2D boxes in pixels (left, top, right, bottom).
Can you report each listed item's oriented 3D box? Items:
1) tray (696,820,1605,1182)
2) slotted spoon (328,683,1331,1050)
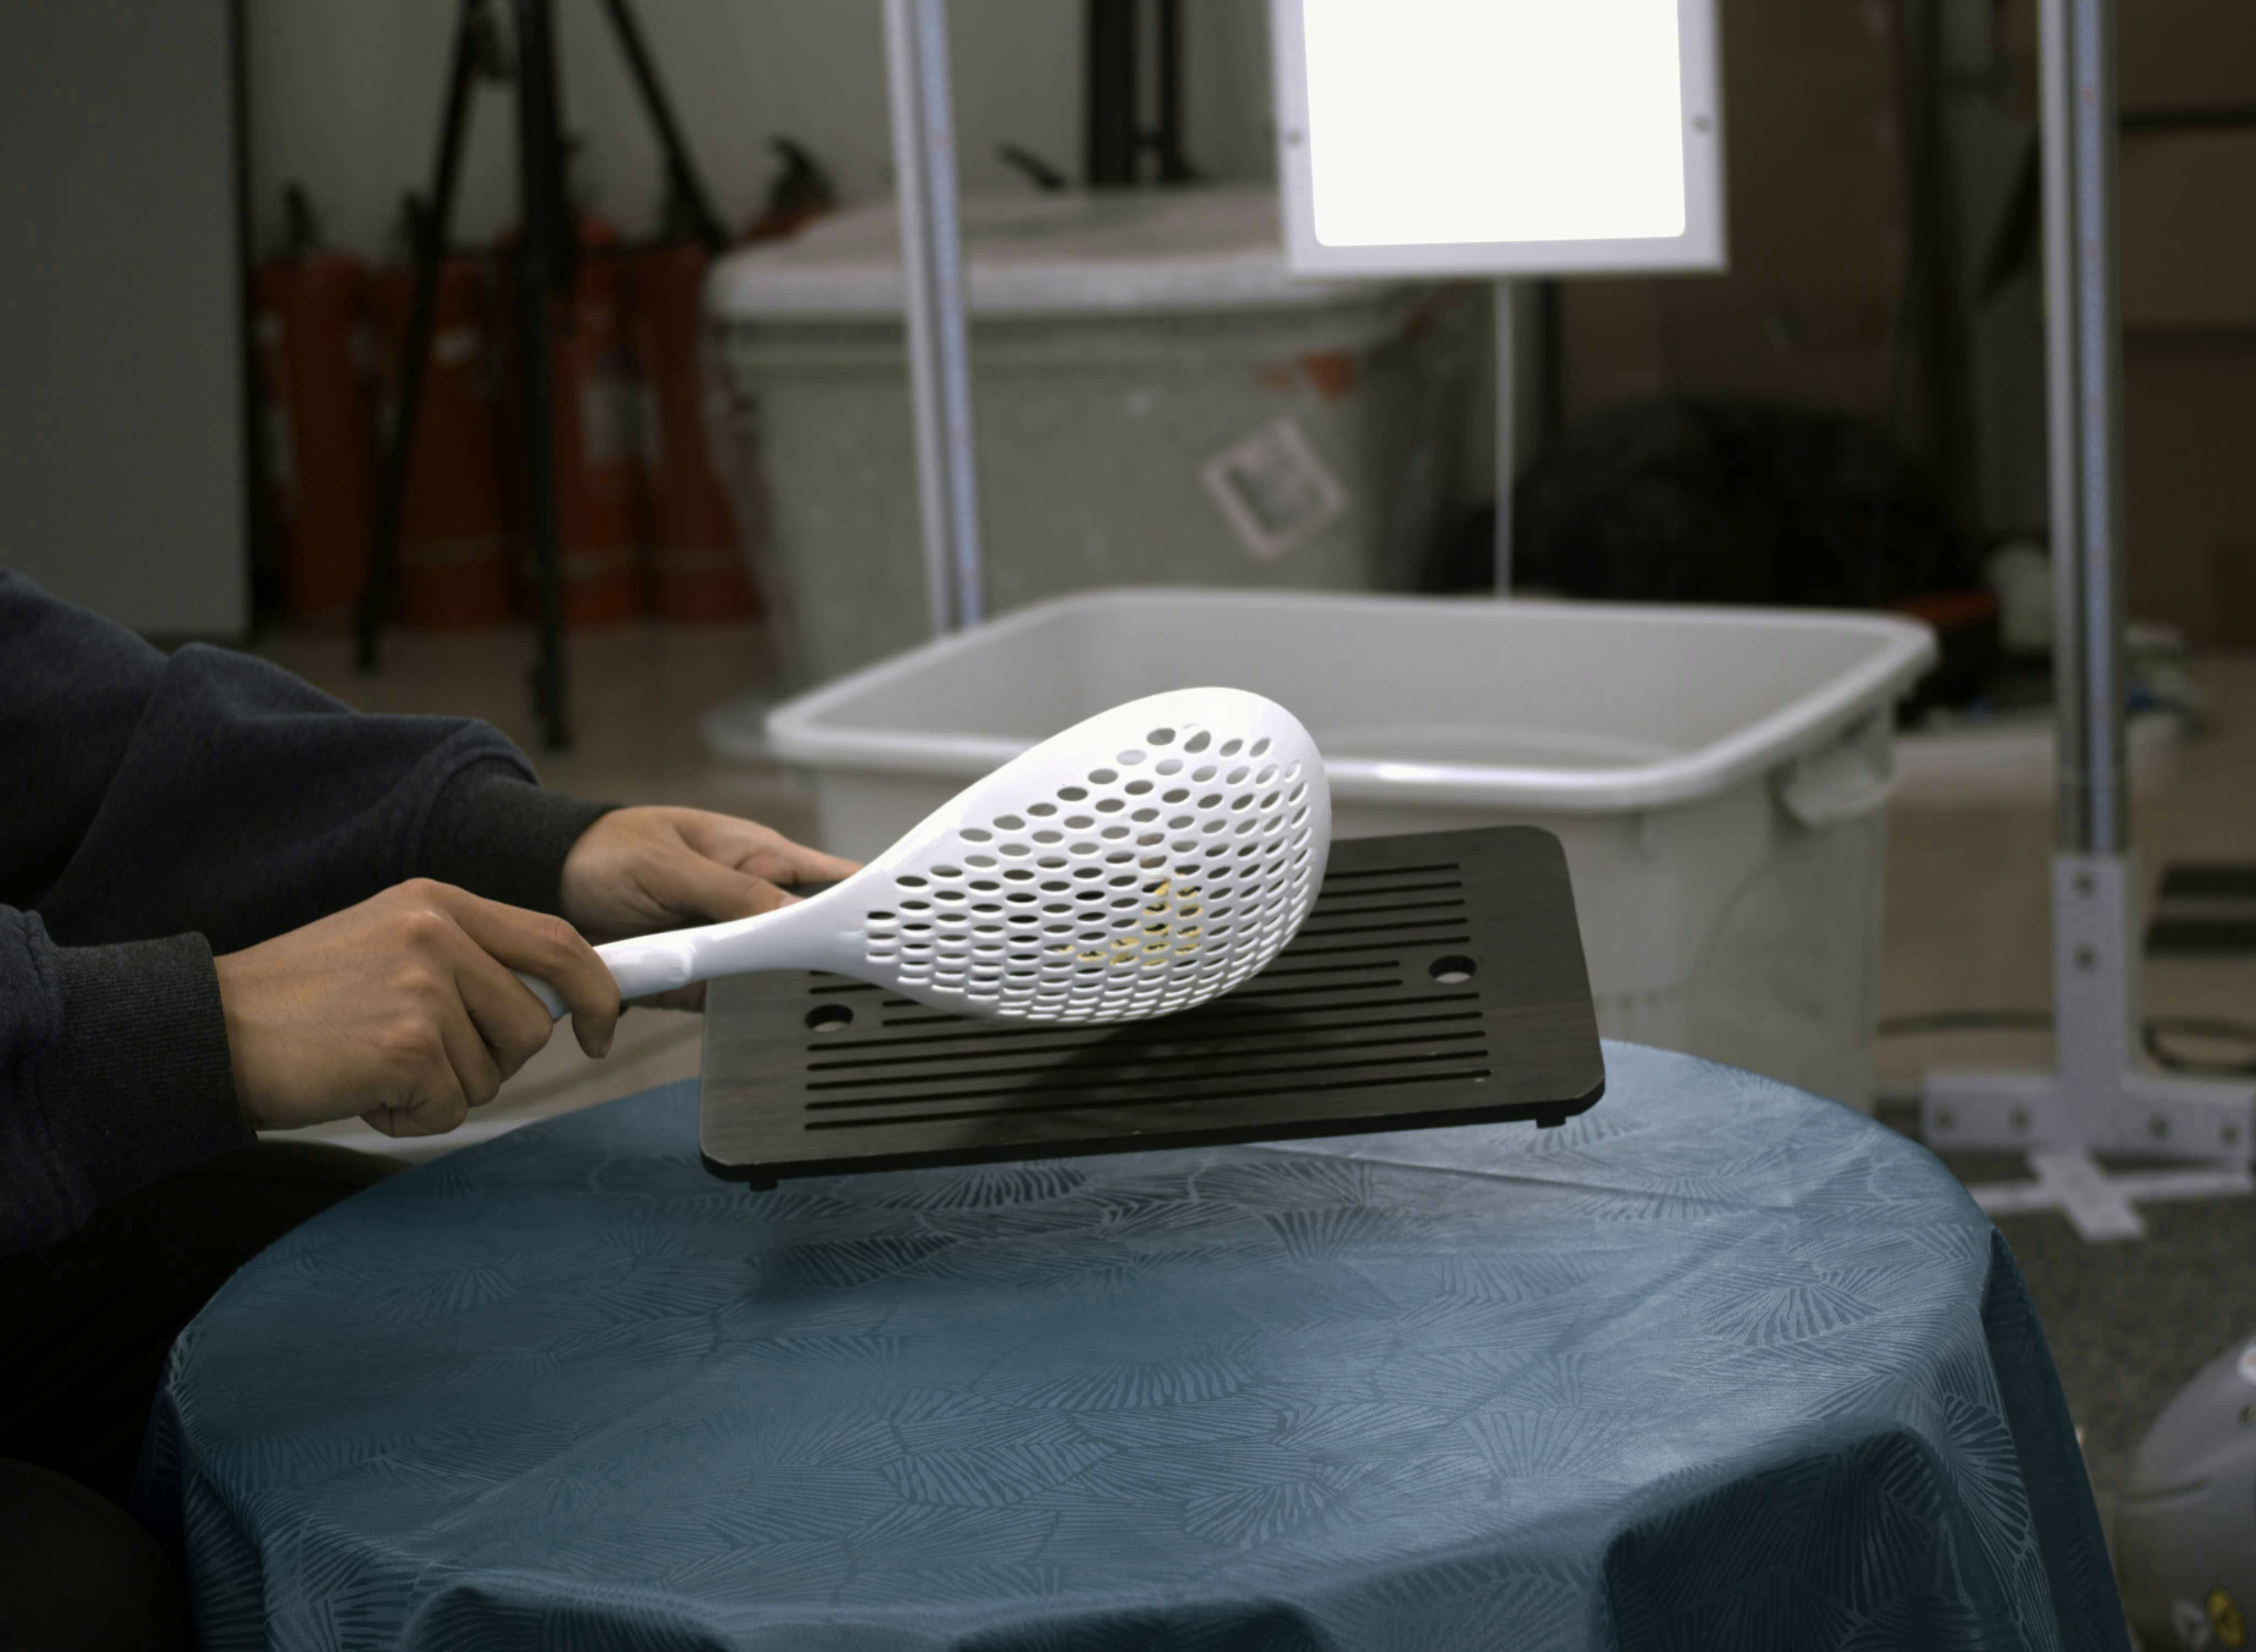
[{"bbox_3d":[0.005,0.061,1.895,0.306,0.019,0.169,-5,33,3],"label":"tray"},{"bbox_3d":[-0.092,0.036,1.798,0.343,0.138,0.050,-8,38,-12],"label":"slotted spoon"}]
